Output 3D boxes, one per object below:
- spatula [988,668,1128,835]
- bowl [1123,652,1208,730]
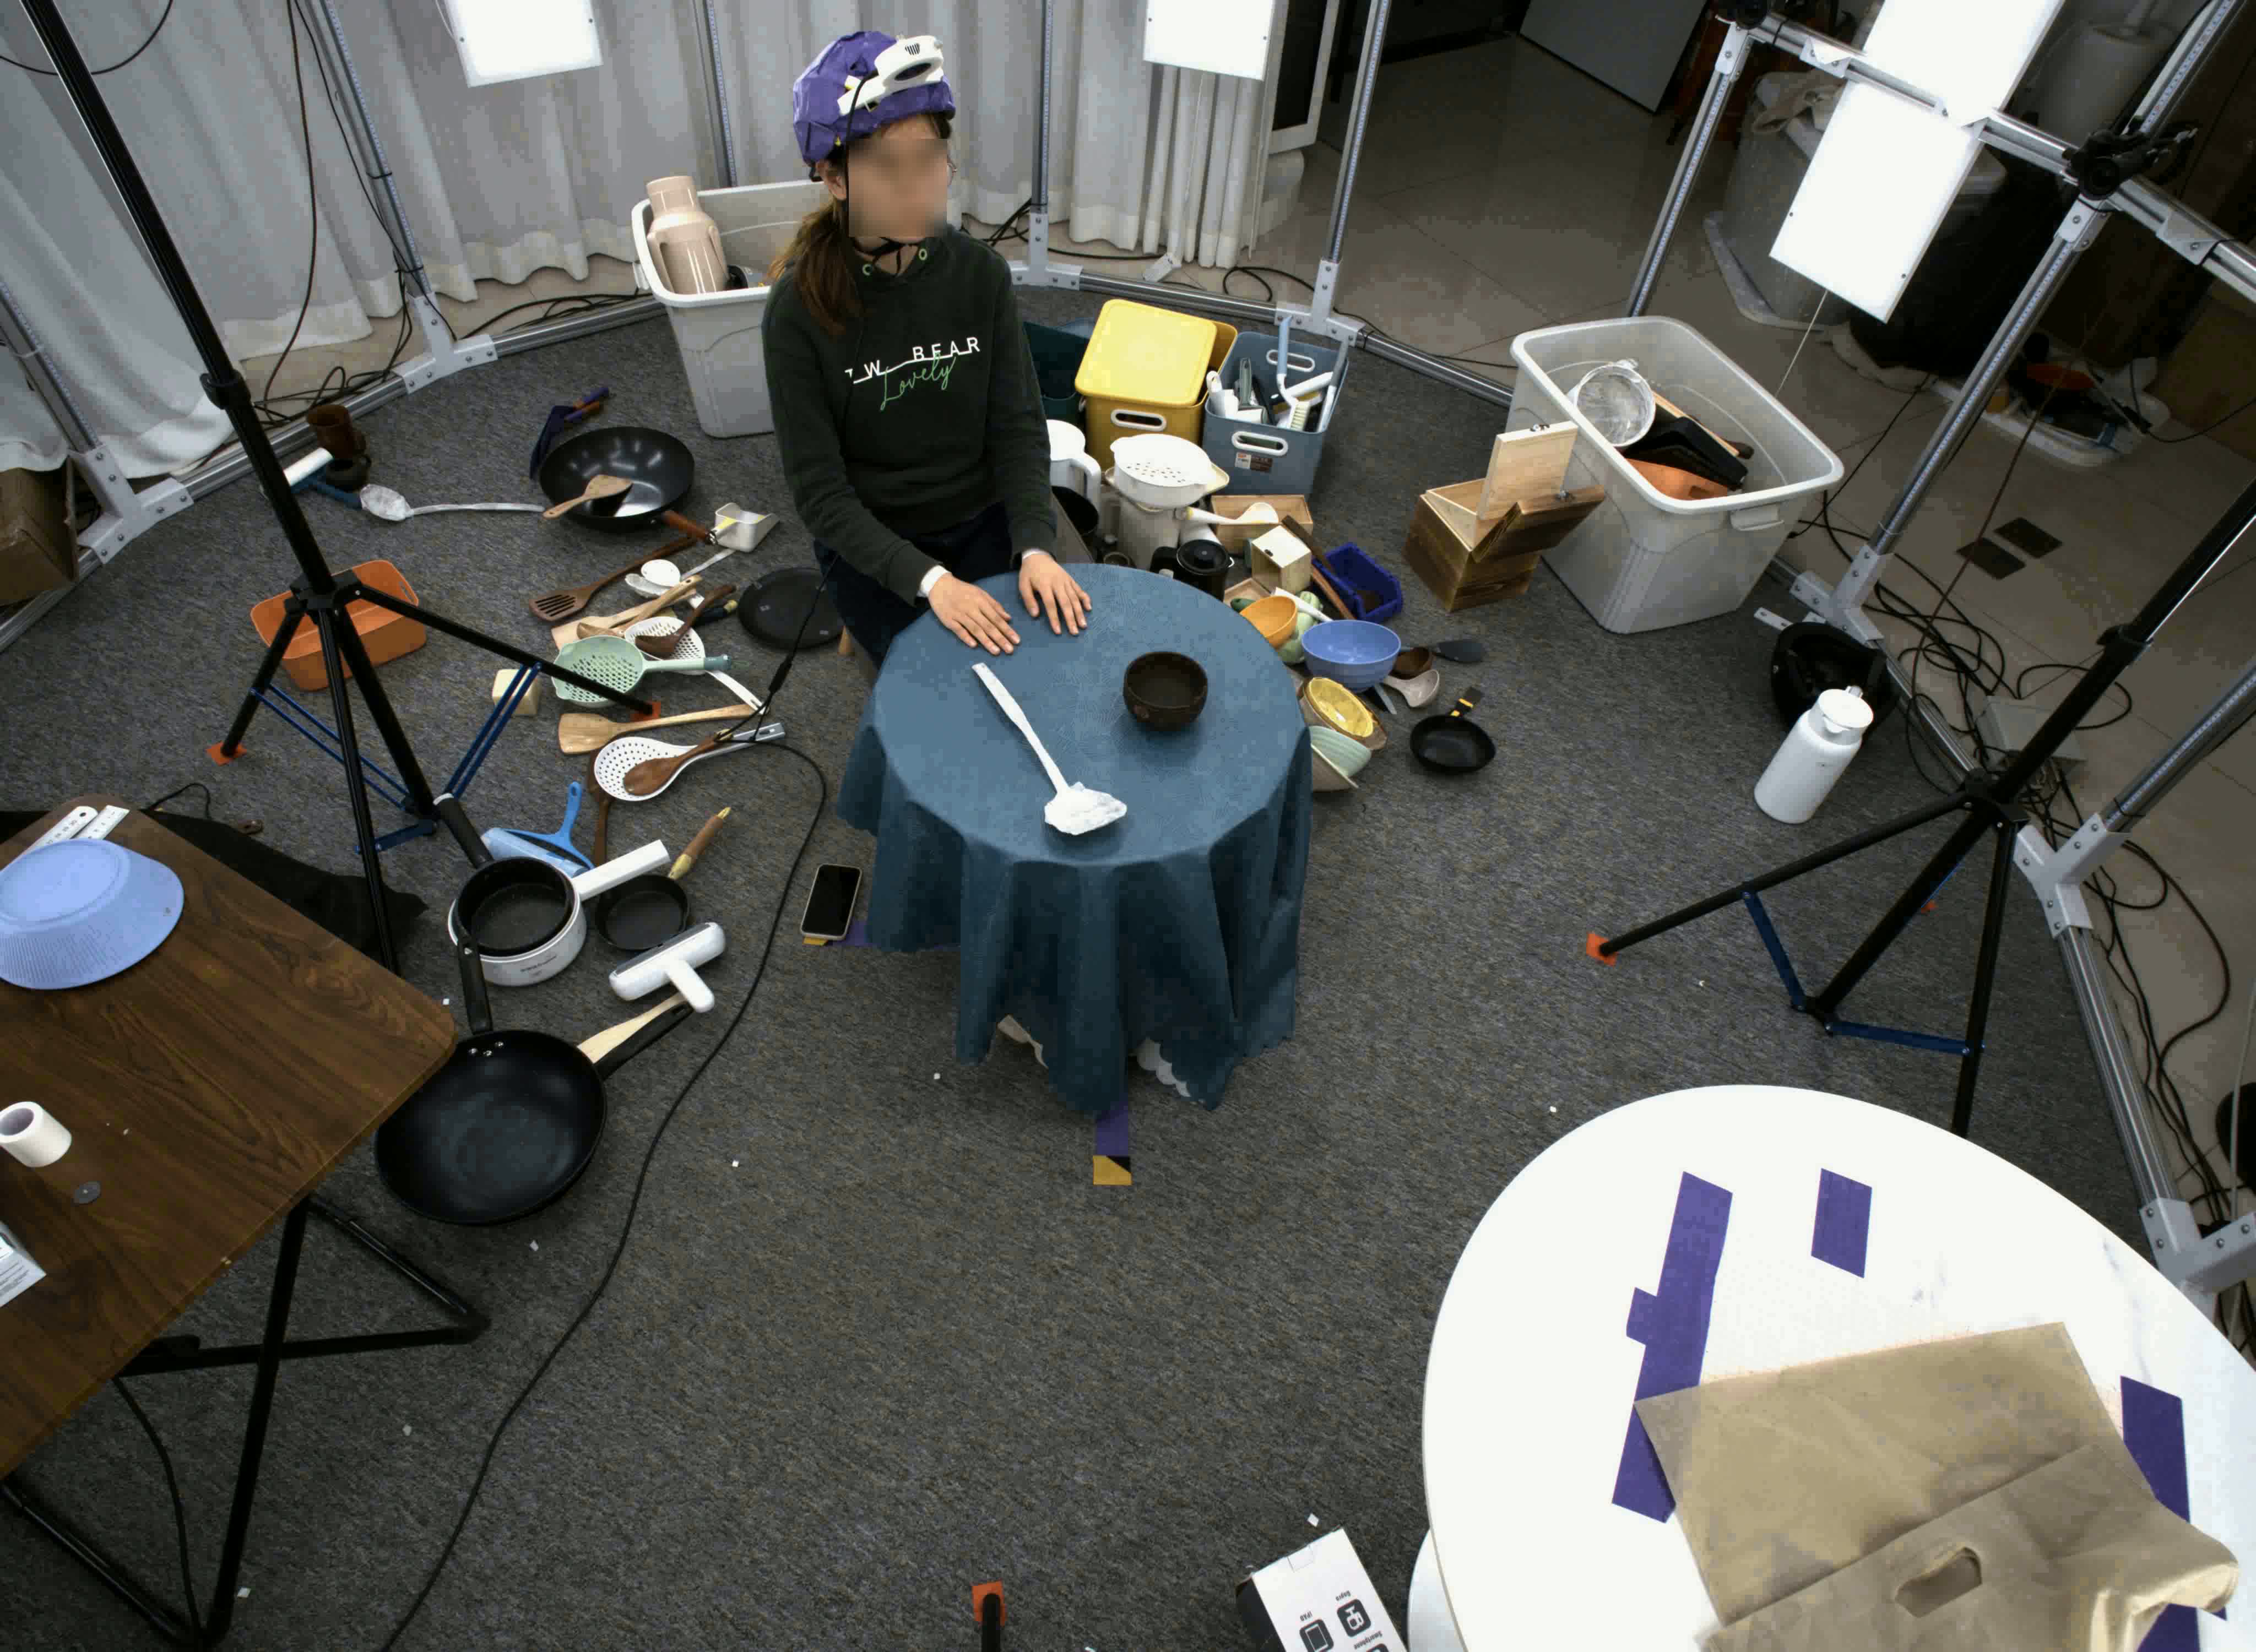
[{"bbox_3d":[-0.118,-0.113,1.749,0.099,0.043,0.373,-21,53,-18],"label":"spatula"},{"bbox_3d":[0.051,-0.180,1.798,0.118,0.068,0.121,3,47,-3],"label":"bowl"}]
